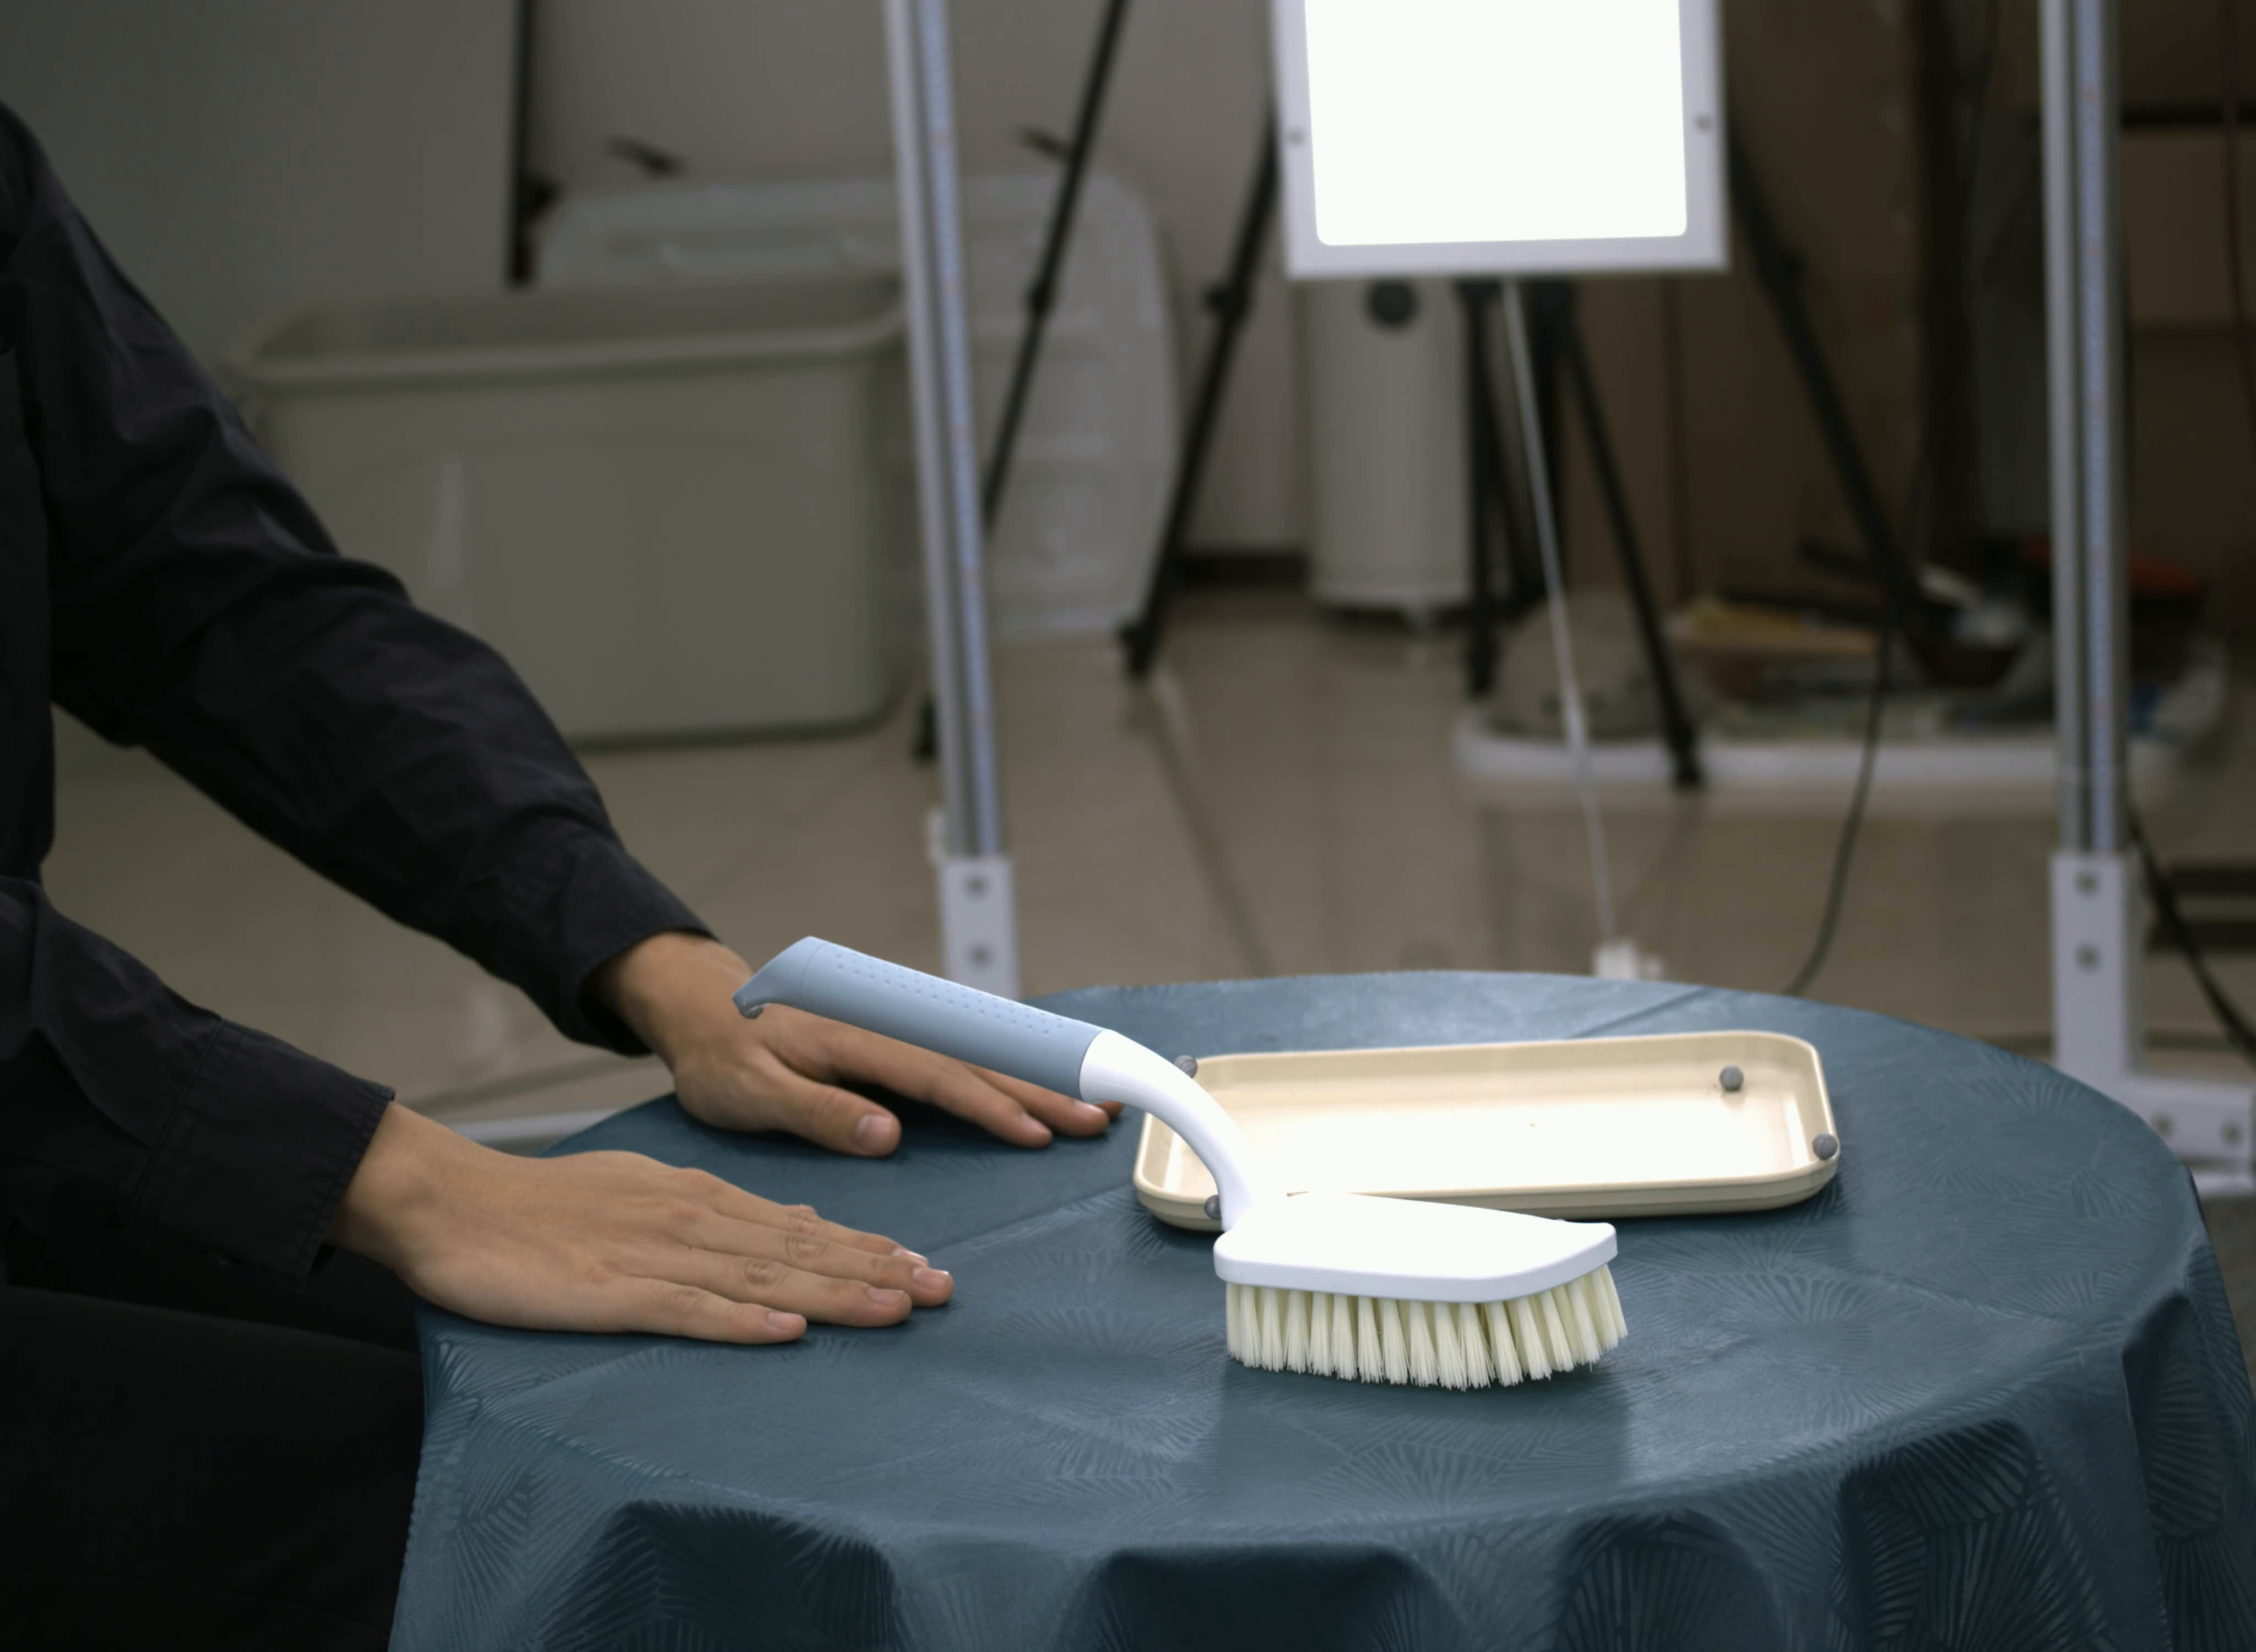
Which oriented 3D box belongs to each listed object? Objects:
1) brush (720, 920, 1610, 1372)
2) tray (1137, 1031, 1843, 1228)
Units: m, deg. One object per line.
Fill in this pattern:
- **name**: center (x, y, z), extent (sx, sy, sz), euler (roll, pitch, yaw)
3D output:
- **brush**: center (0.006, 0.115, 1.760), extent (0.331, 0.084, 0.082), euler (17, -15, 28)
- **tray**: center (0.125, 0.106, 1.900), extent (0.240, 0.017, 0.170), euler (-3, 13, 6)
